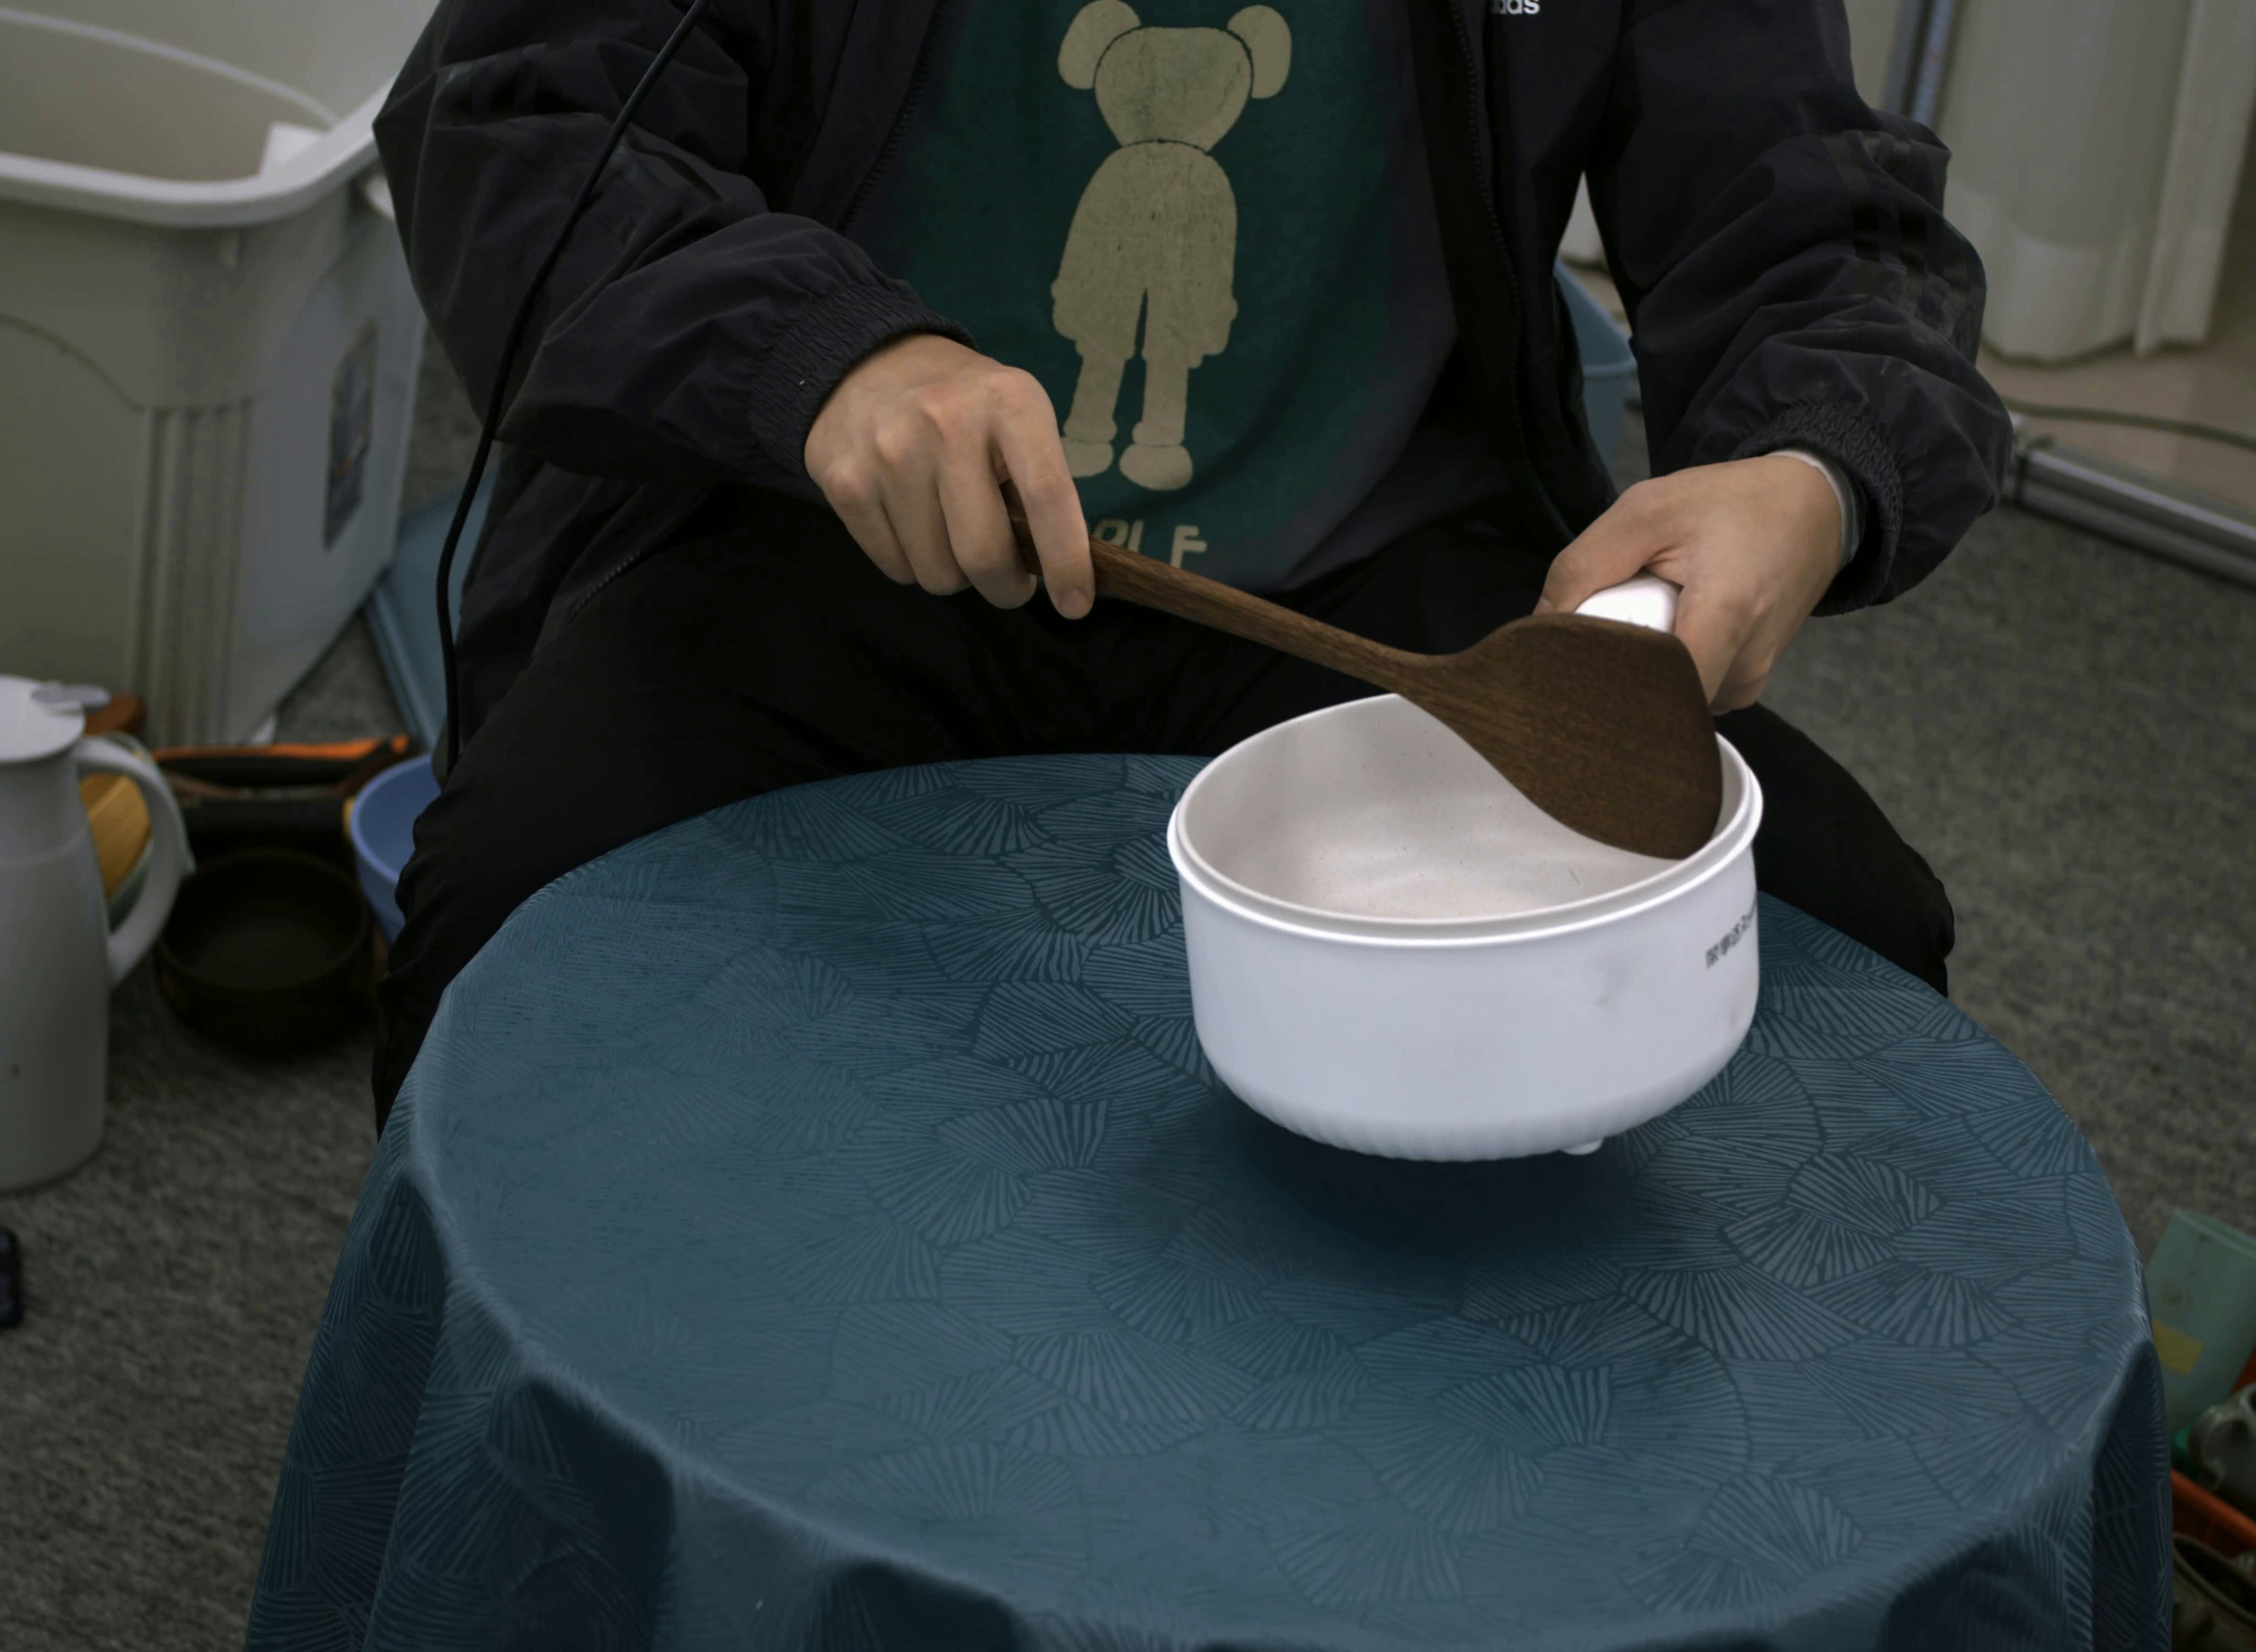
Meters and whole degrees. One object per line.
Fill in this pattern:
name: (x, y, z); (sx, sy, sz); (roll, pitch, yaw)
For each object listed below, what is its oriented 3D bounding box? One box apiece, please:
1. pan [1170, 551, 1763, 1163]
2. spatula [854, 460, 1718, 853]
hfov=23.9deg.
pan: (0.146, 0.008, 1.878); (0.202, 0.102, 0.355); (3, 24, 22)
spatula: (0.047, -0.074, 1.868); (0.388, 0.095, 0.016); (20, 45, 37)
